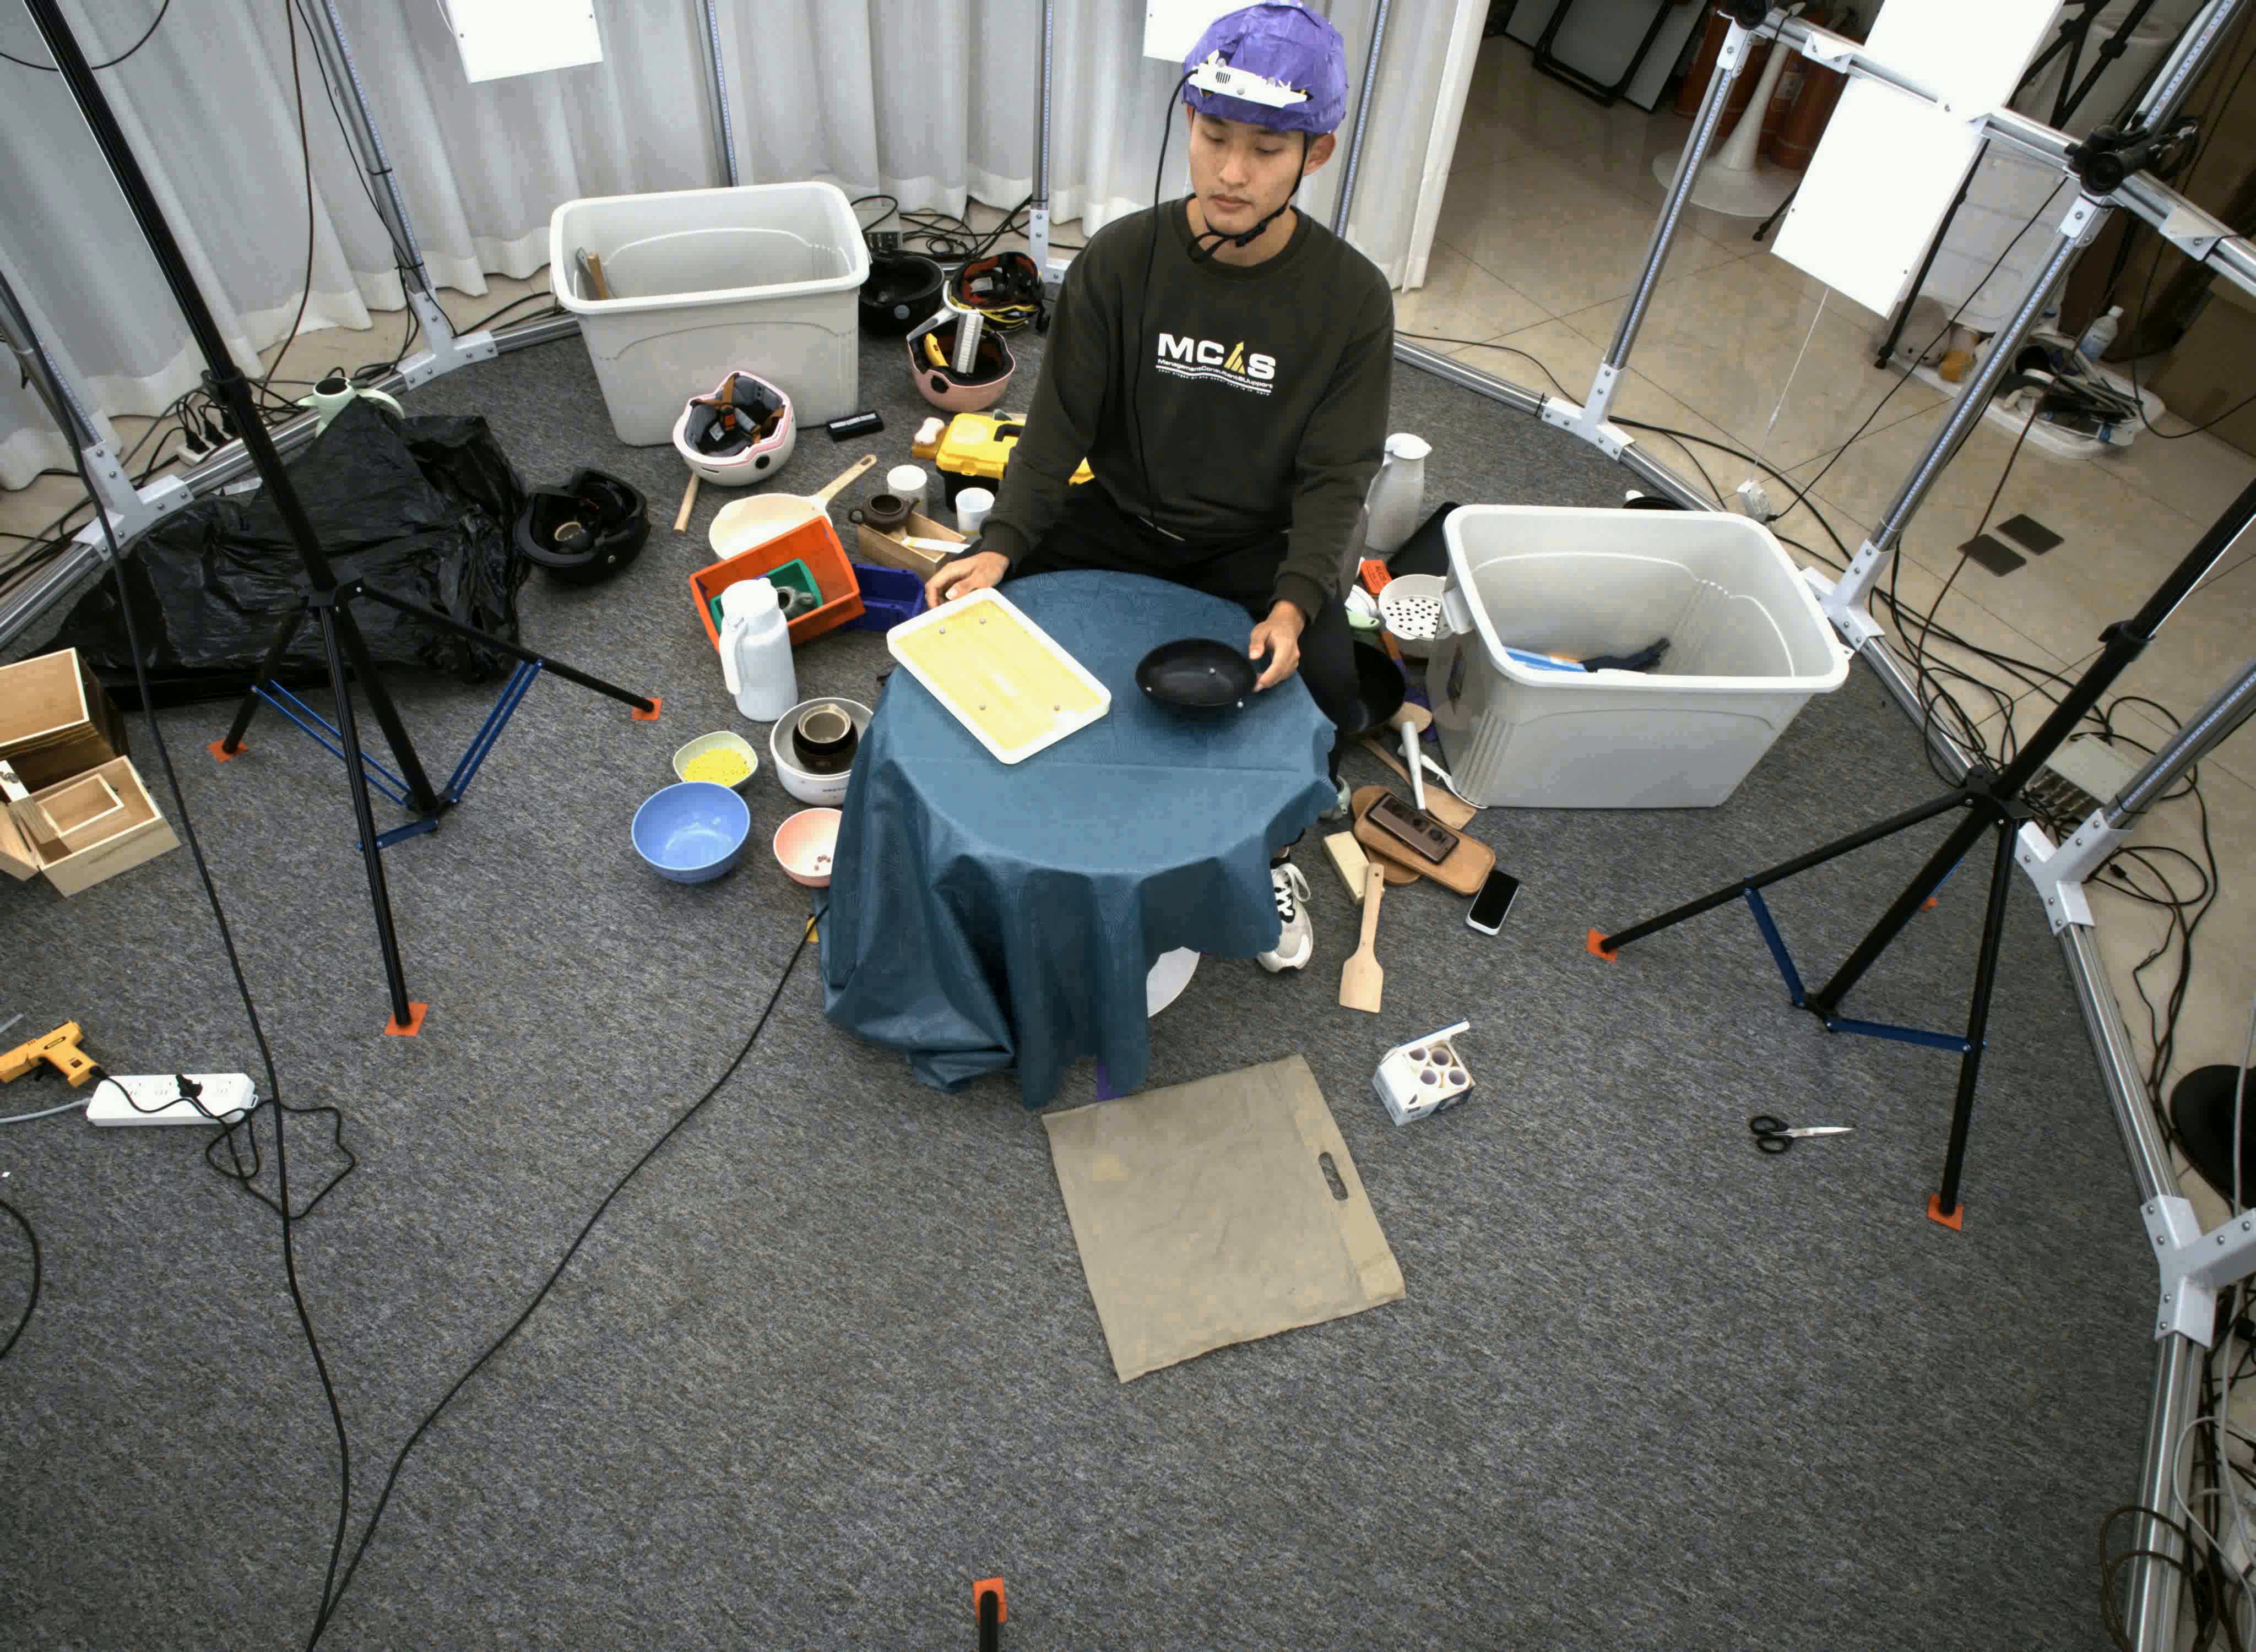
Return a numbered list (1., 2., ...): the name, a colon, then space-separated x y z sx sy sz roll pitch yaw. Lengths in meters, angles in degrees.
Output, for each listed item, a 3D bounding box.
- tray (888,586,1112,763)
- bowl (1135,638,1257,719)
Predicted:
1. tray: -0.183 -0.221 1.825 0.193 0.027 0.305 -30 58 -27
2. bowl: 0.094 -0.195 1.802 0.170 0.065 0.141 1 48 -1
